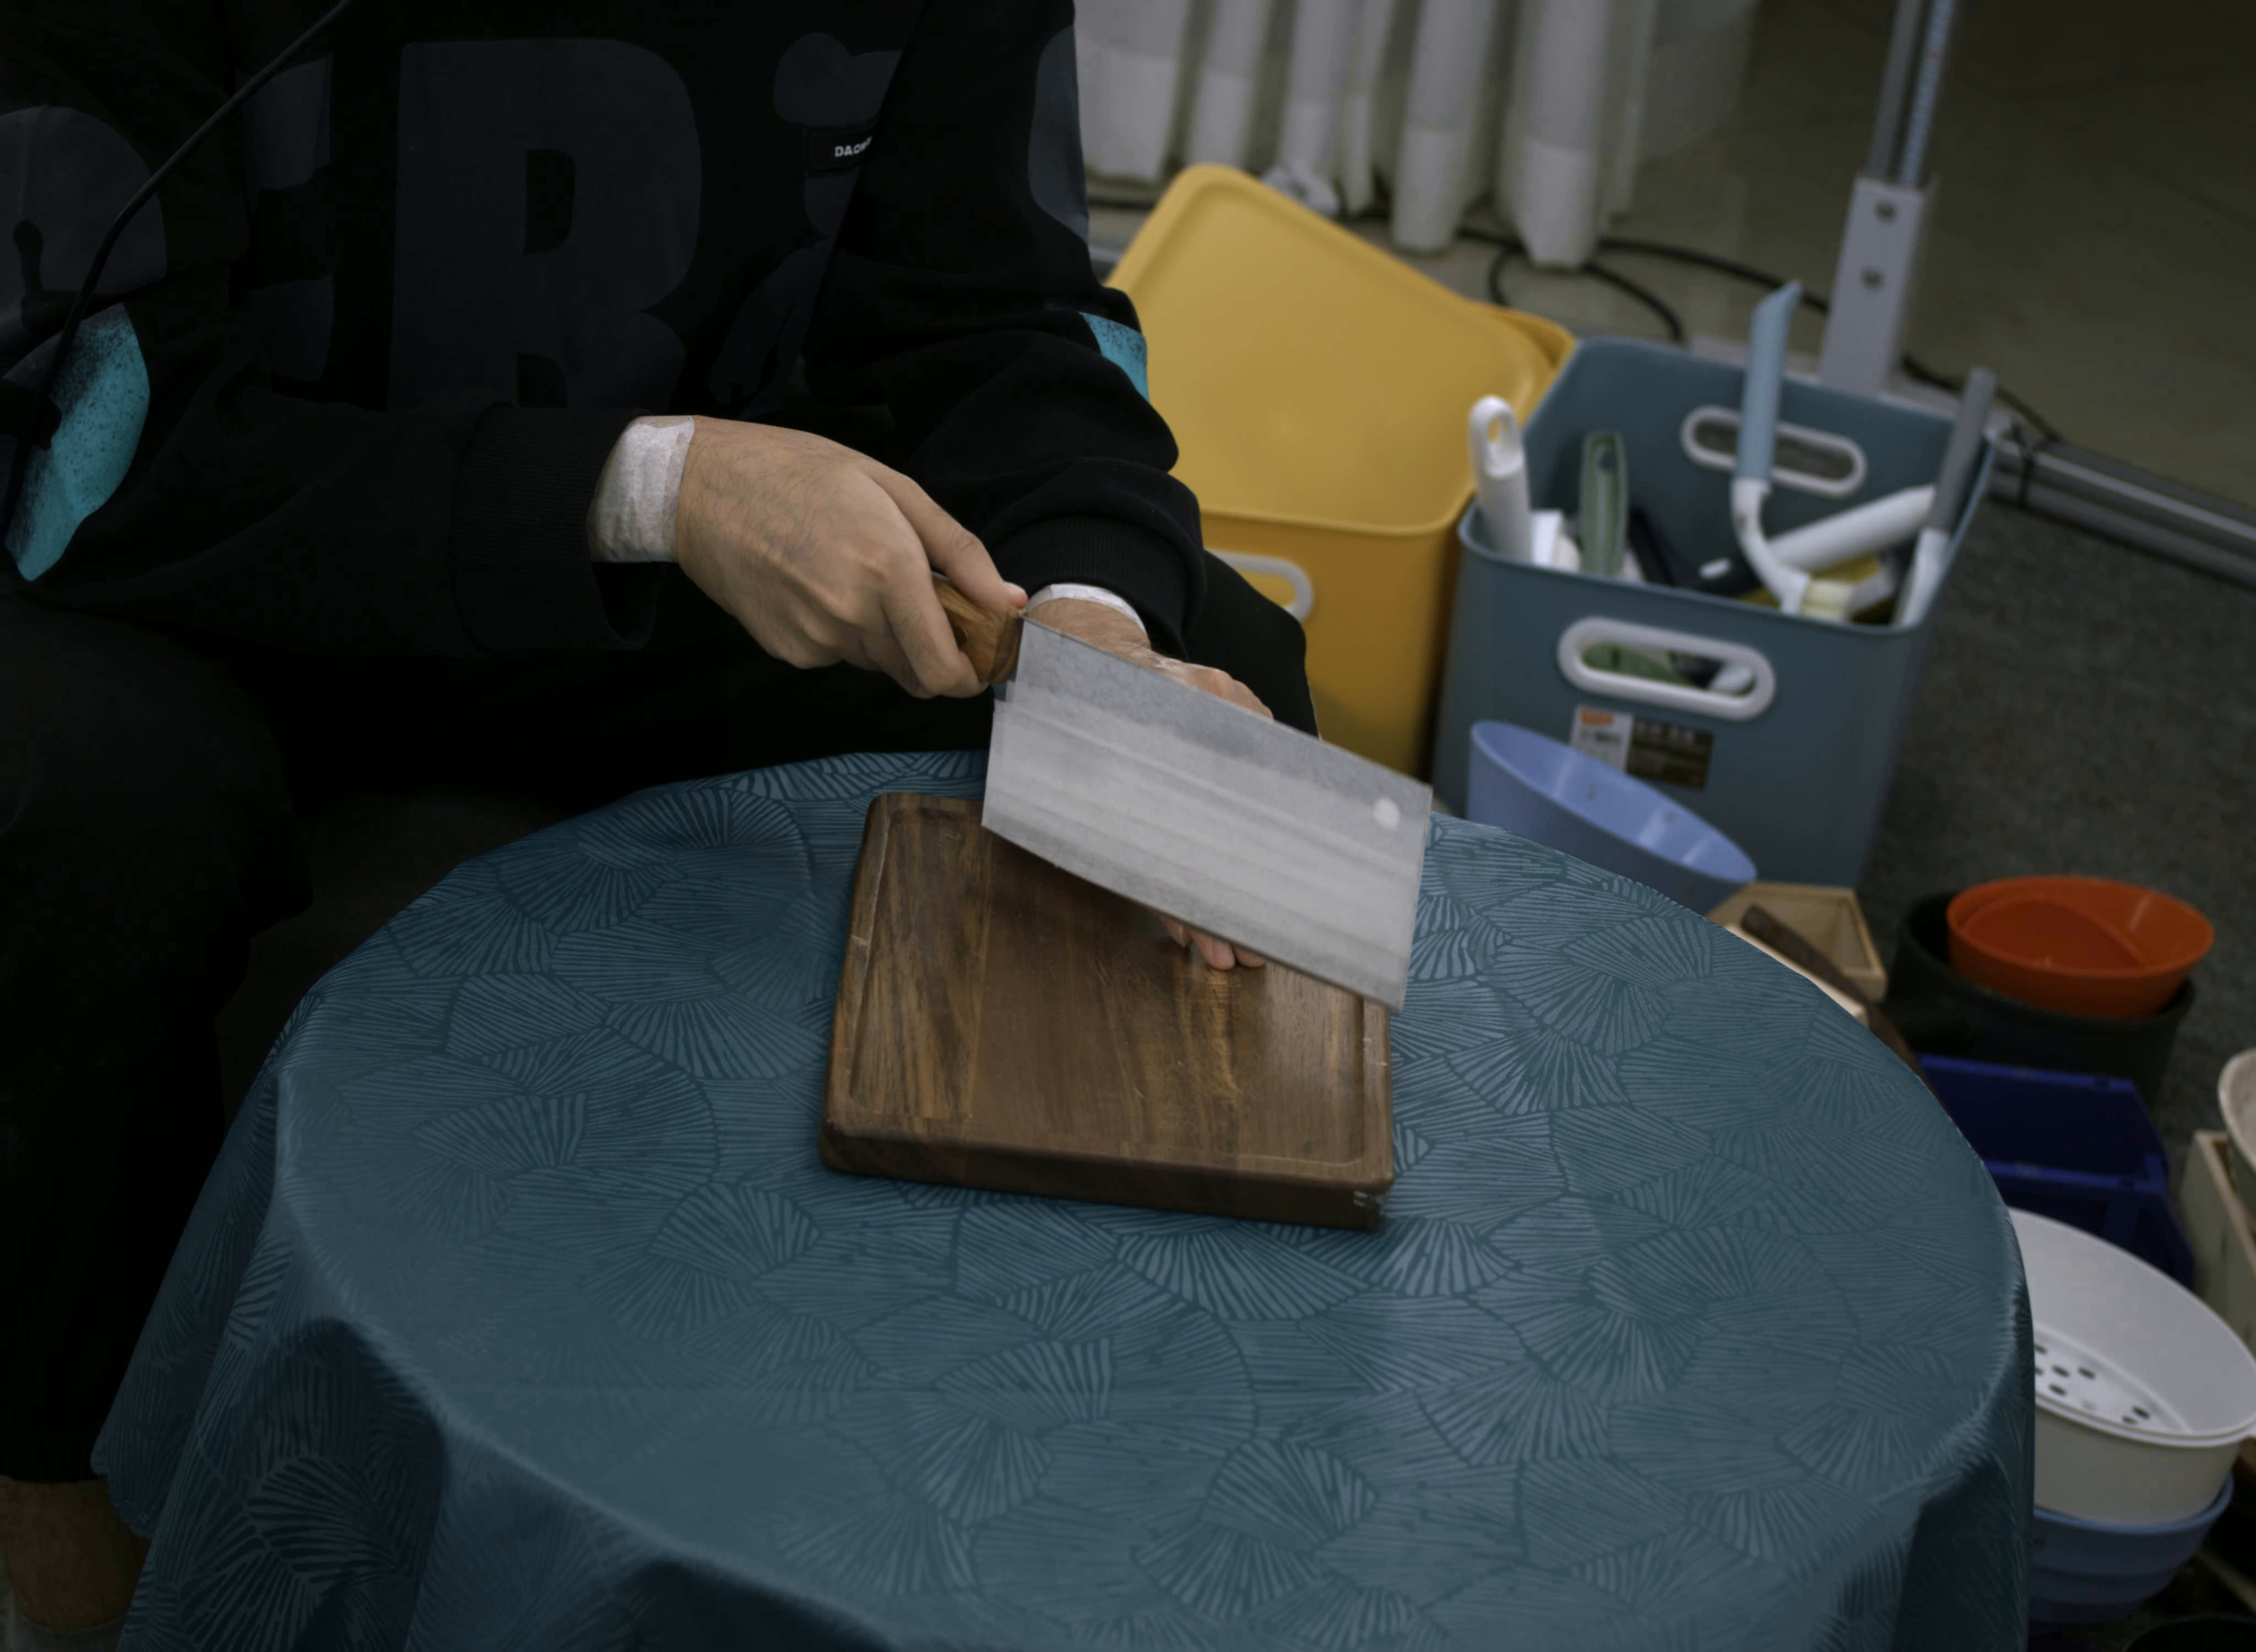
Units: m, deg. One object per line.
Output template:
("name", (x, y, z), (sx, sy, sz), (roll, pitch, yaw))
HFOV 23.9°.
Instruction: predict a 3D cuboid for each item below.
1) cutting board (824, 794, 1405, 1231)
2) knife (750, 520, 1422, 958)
("cutting board", (-0.003, 0.040, 1.942), (0.200, 0.023, 0.354), (6, 27, -1))
("knife", (-0.020, -0.029, 1.916), (0.308, 0.092, 0.021), (23, 31, 32))
